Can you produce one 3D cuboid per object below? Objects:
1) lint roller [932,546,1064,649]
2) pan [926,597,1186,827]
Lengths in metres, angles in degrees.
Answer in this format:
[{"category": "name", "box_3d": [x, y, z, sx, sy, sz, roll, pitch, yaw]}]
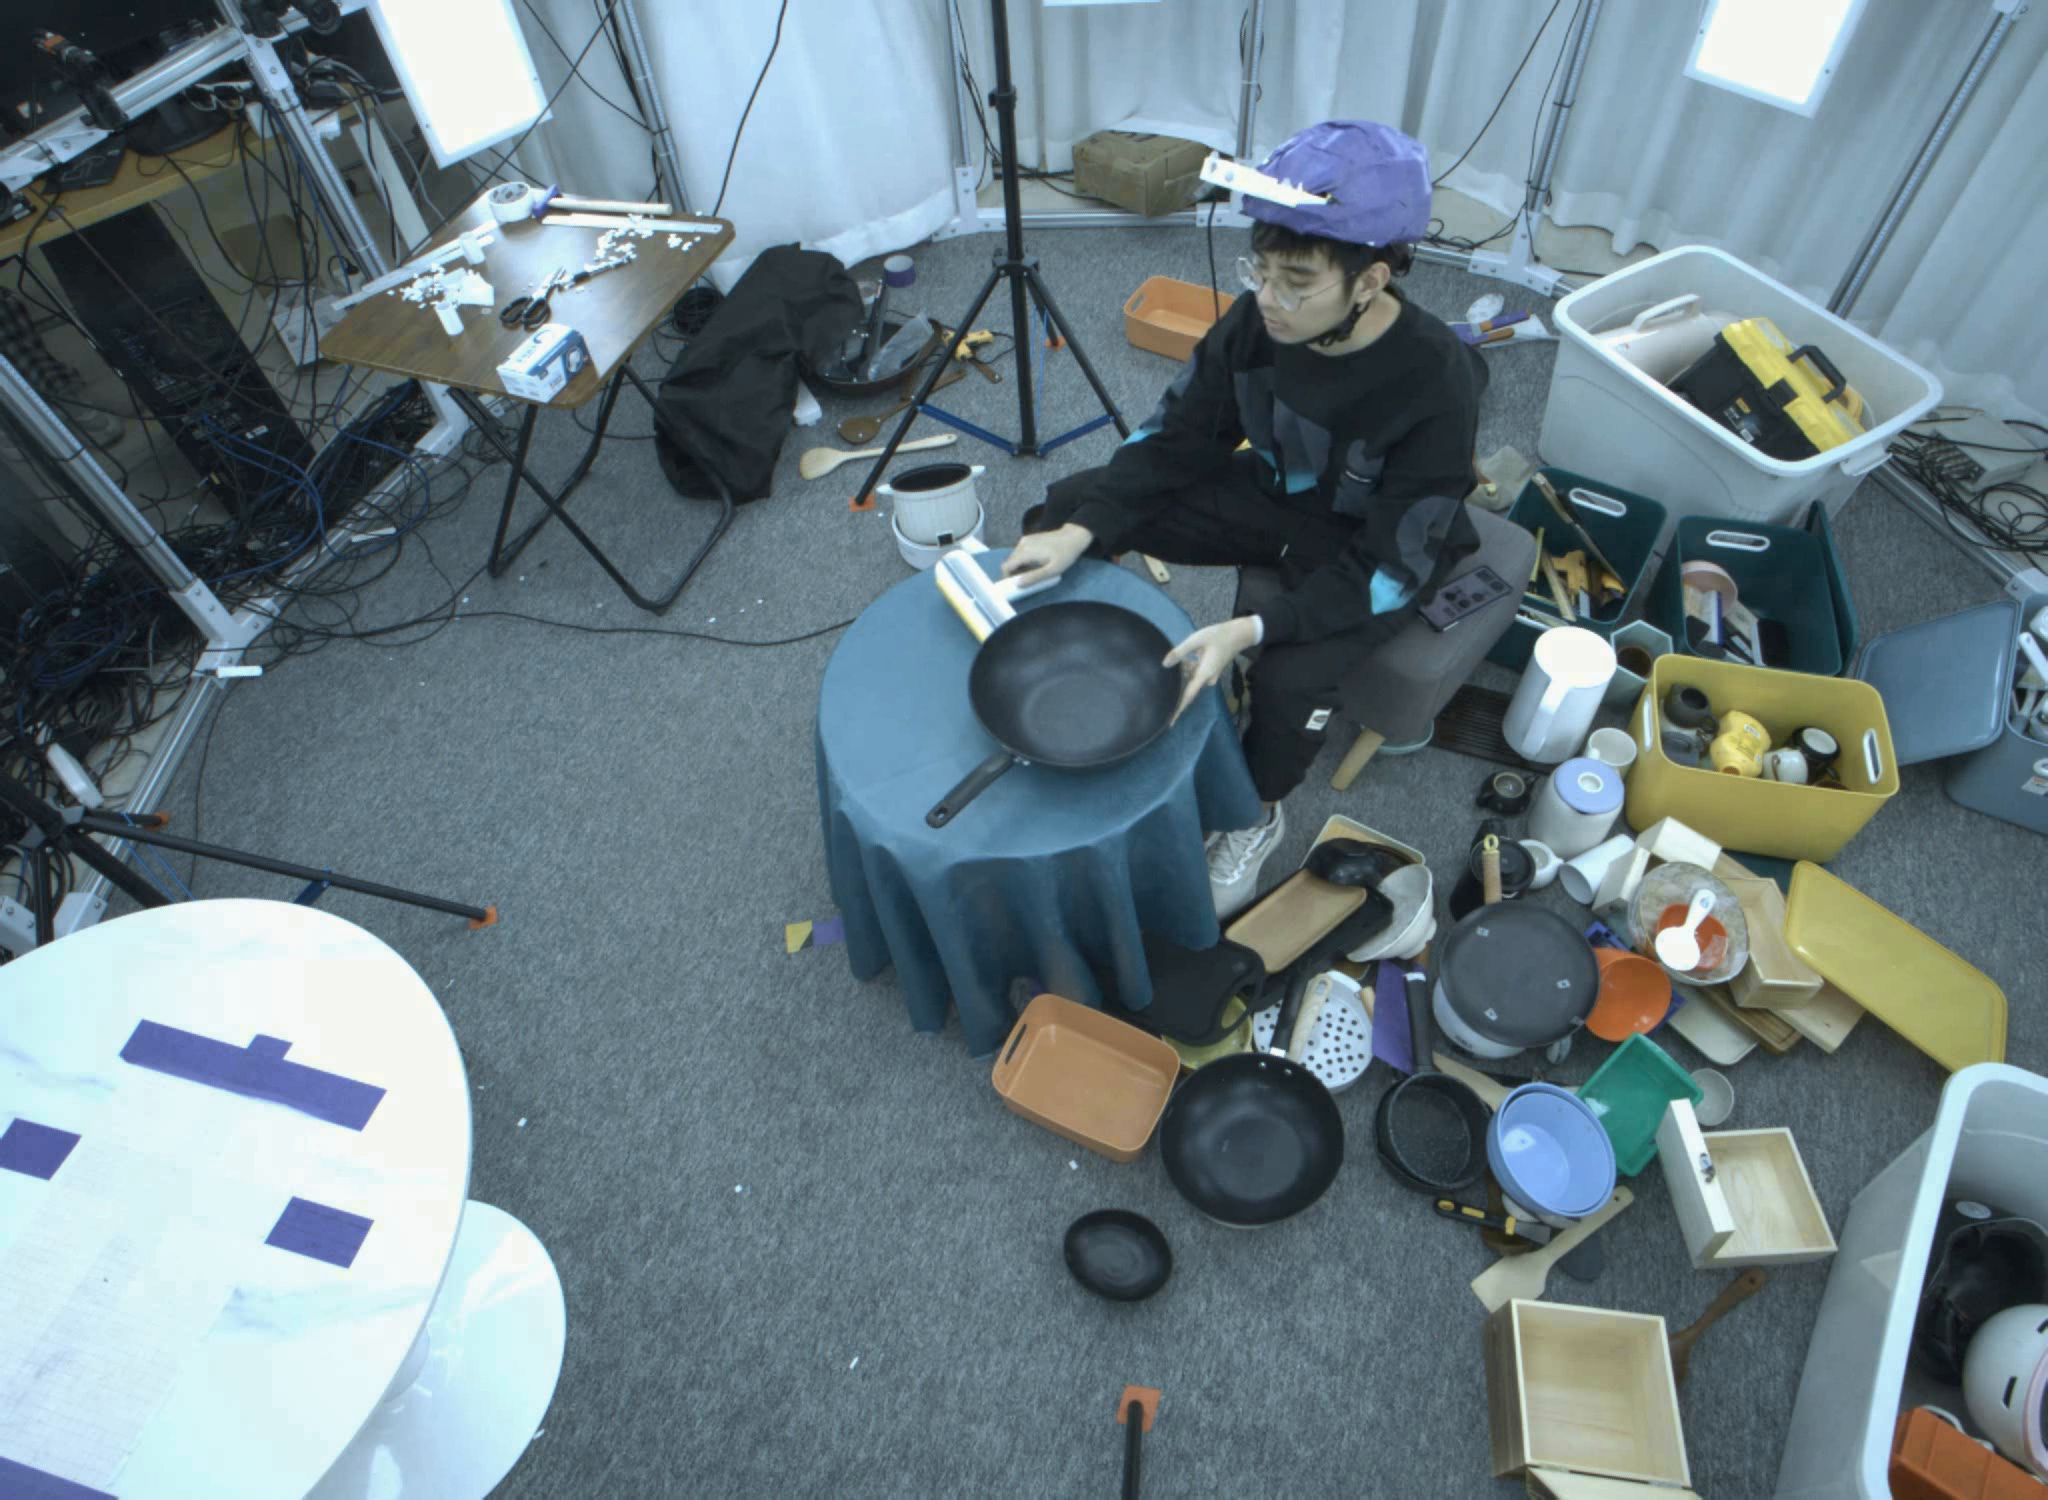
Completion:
[{"category": "lint roller", "box_3d": [-0.023, -0.254, 1.922, 0.194, 0.074, 0.190, -27, 65, -18]}, {"category": "pan", "box_3d": [0.028, -0.033, 1.739, 0.305, 0.113, 0.479, 29, 60, 23]}]
